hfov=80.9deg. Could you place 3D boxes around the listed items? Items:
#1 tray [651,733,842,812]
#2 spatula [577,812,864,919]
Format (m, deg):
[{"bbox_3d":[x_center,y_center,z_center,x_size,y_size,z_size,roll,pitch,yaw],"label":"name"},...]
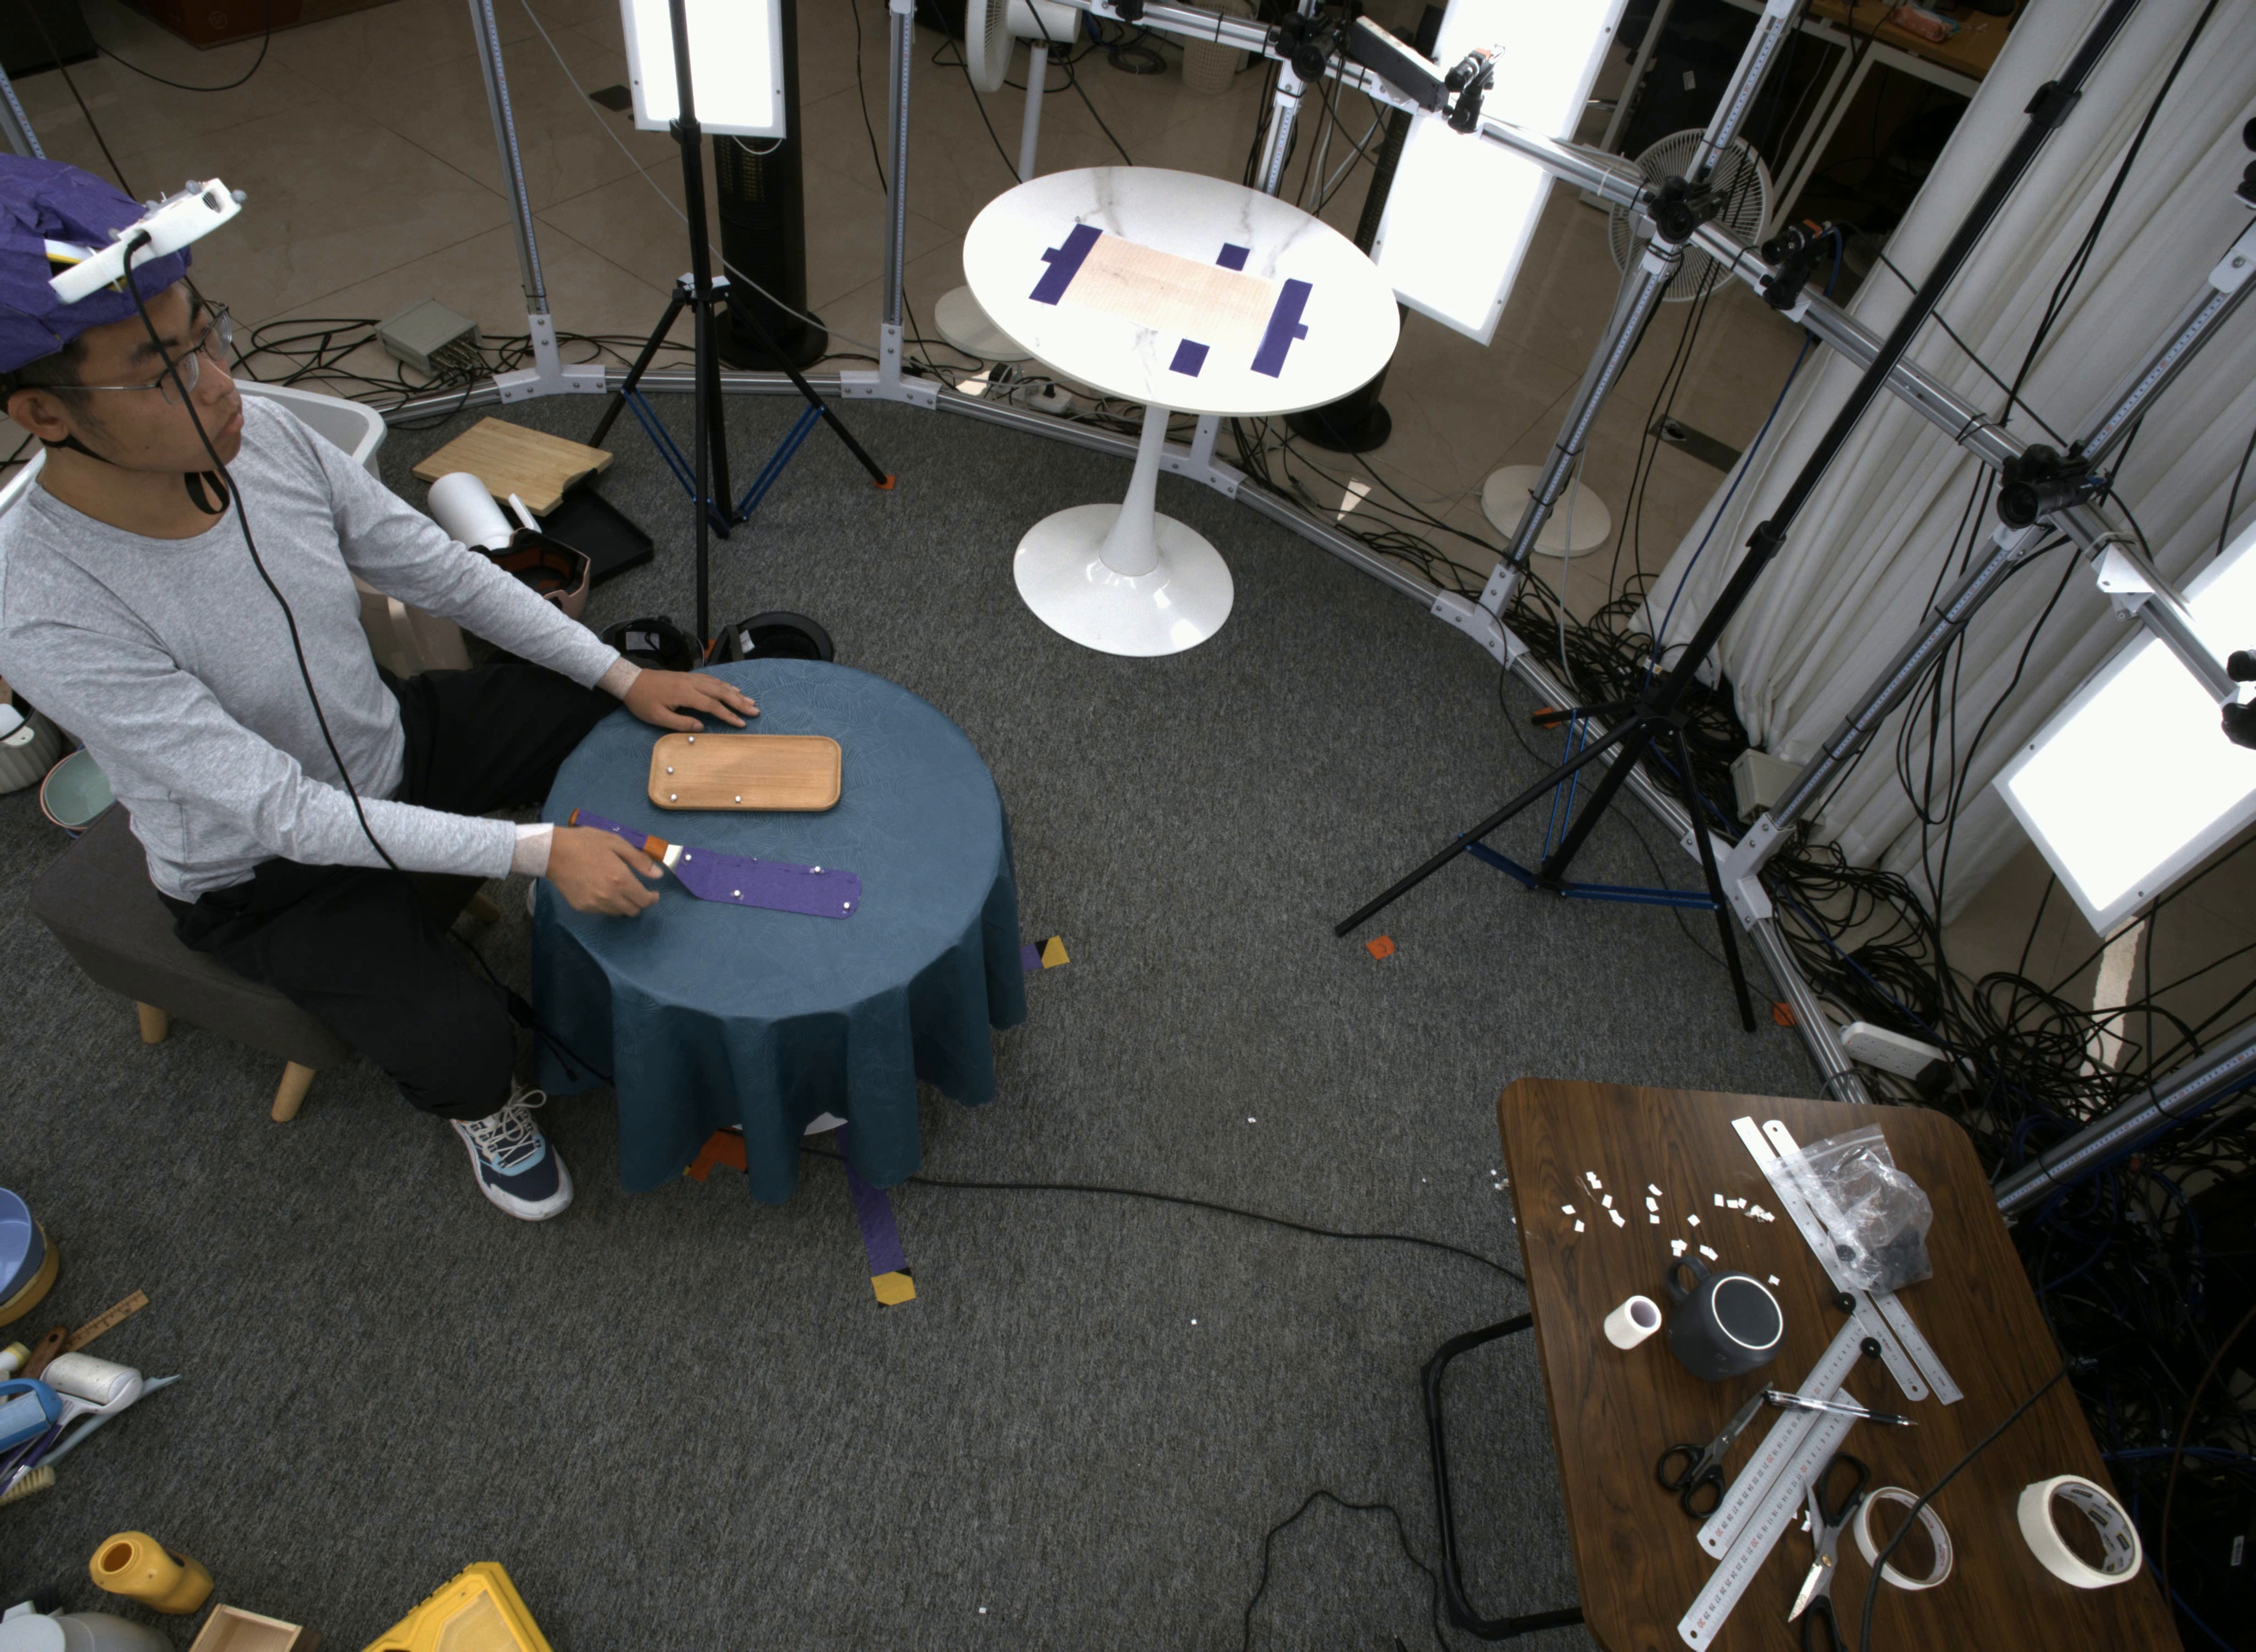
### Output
[{"bbox_3d":[-0.513,-0.073,1.746,0.251,0.023,0.128,1,57,-14],"label":"tray"},{"bbox_3d":[-0.513,0.042,1.622,0.367,0.086,0.074,26,45,-27],"label":"spatula"}]
